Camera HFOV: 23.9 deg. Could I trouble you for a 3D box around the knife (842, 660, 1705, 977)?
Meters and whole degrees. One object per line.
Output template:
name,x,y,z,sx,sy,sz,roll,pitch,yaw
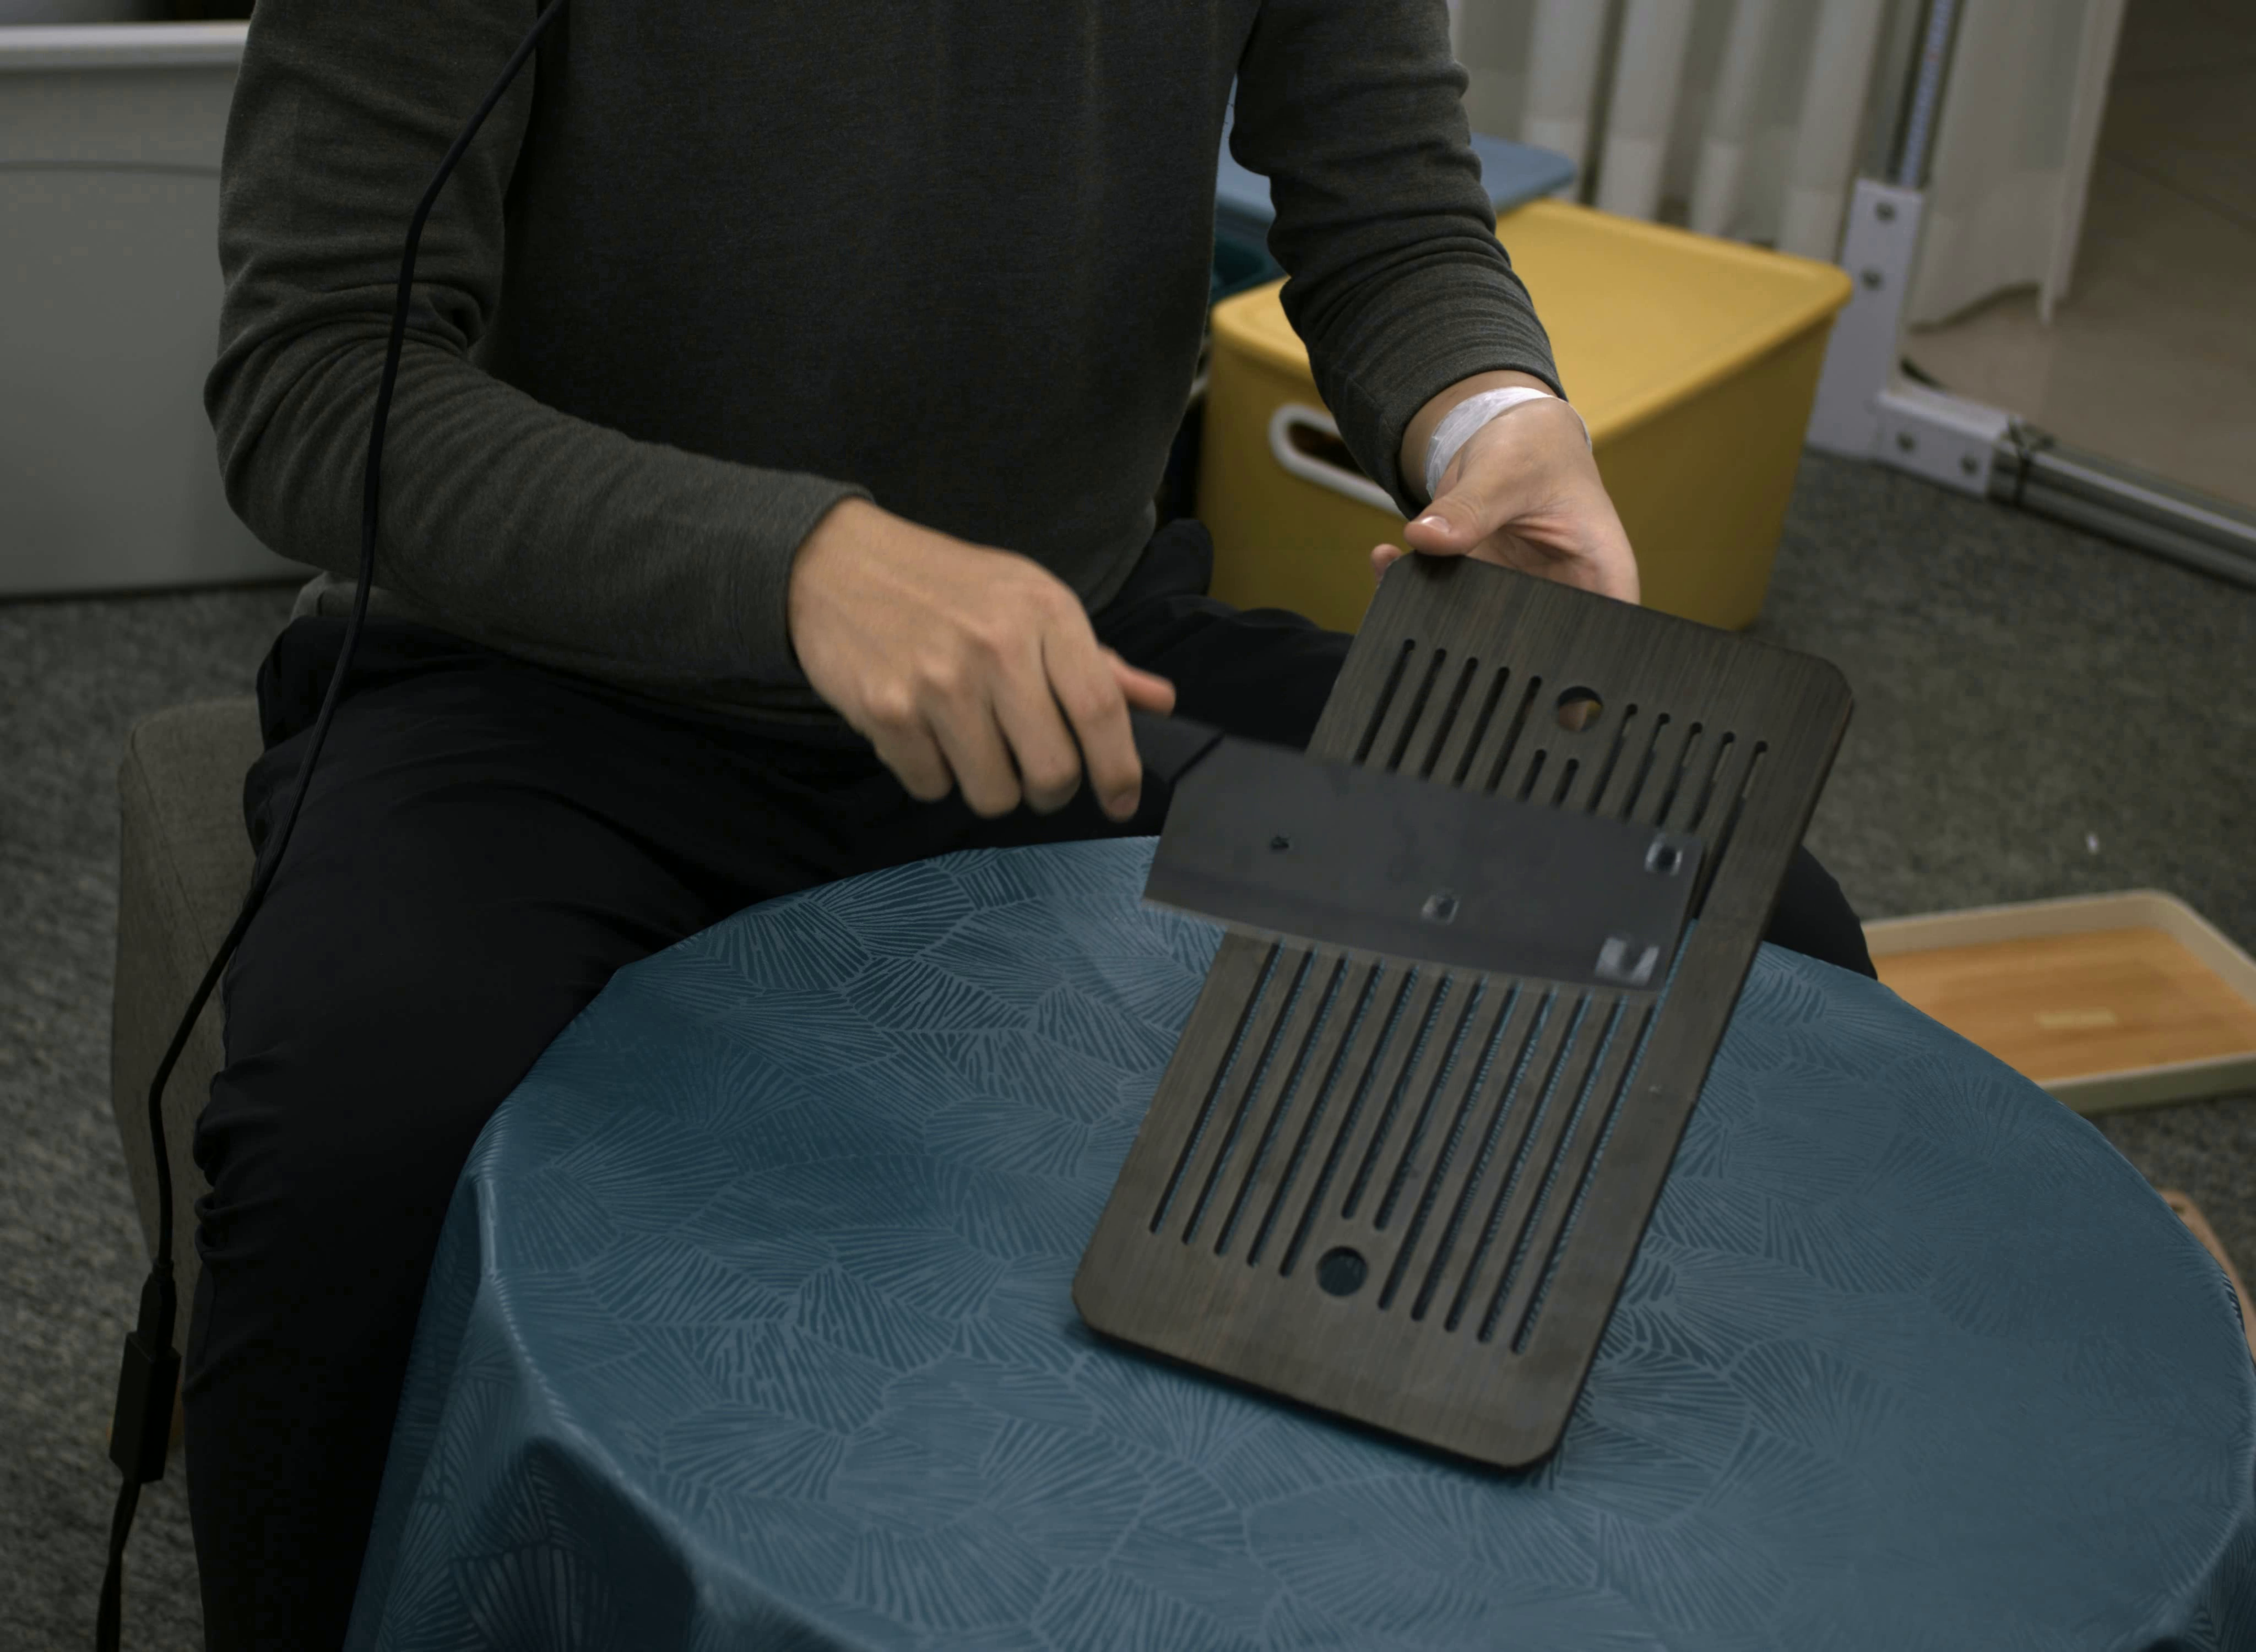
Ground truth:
knife,0.044,-0.006,1.788,0.303,0.020,0.081,15,70,19

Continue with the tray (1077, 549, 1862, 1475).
tray,0.115,0.056,1.751,0.170,0.018,0.307,16,66,20
